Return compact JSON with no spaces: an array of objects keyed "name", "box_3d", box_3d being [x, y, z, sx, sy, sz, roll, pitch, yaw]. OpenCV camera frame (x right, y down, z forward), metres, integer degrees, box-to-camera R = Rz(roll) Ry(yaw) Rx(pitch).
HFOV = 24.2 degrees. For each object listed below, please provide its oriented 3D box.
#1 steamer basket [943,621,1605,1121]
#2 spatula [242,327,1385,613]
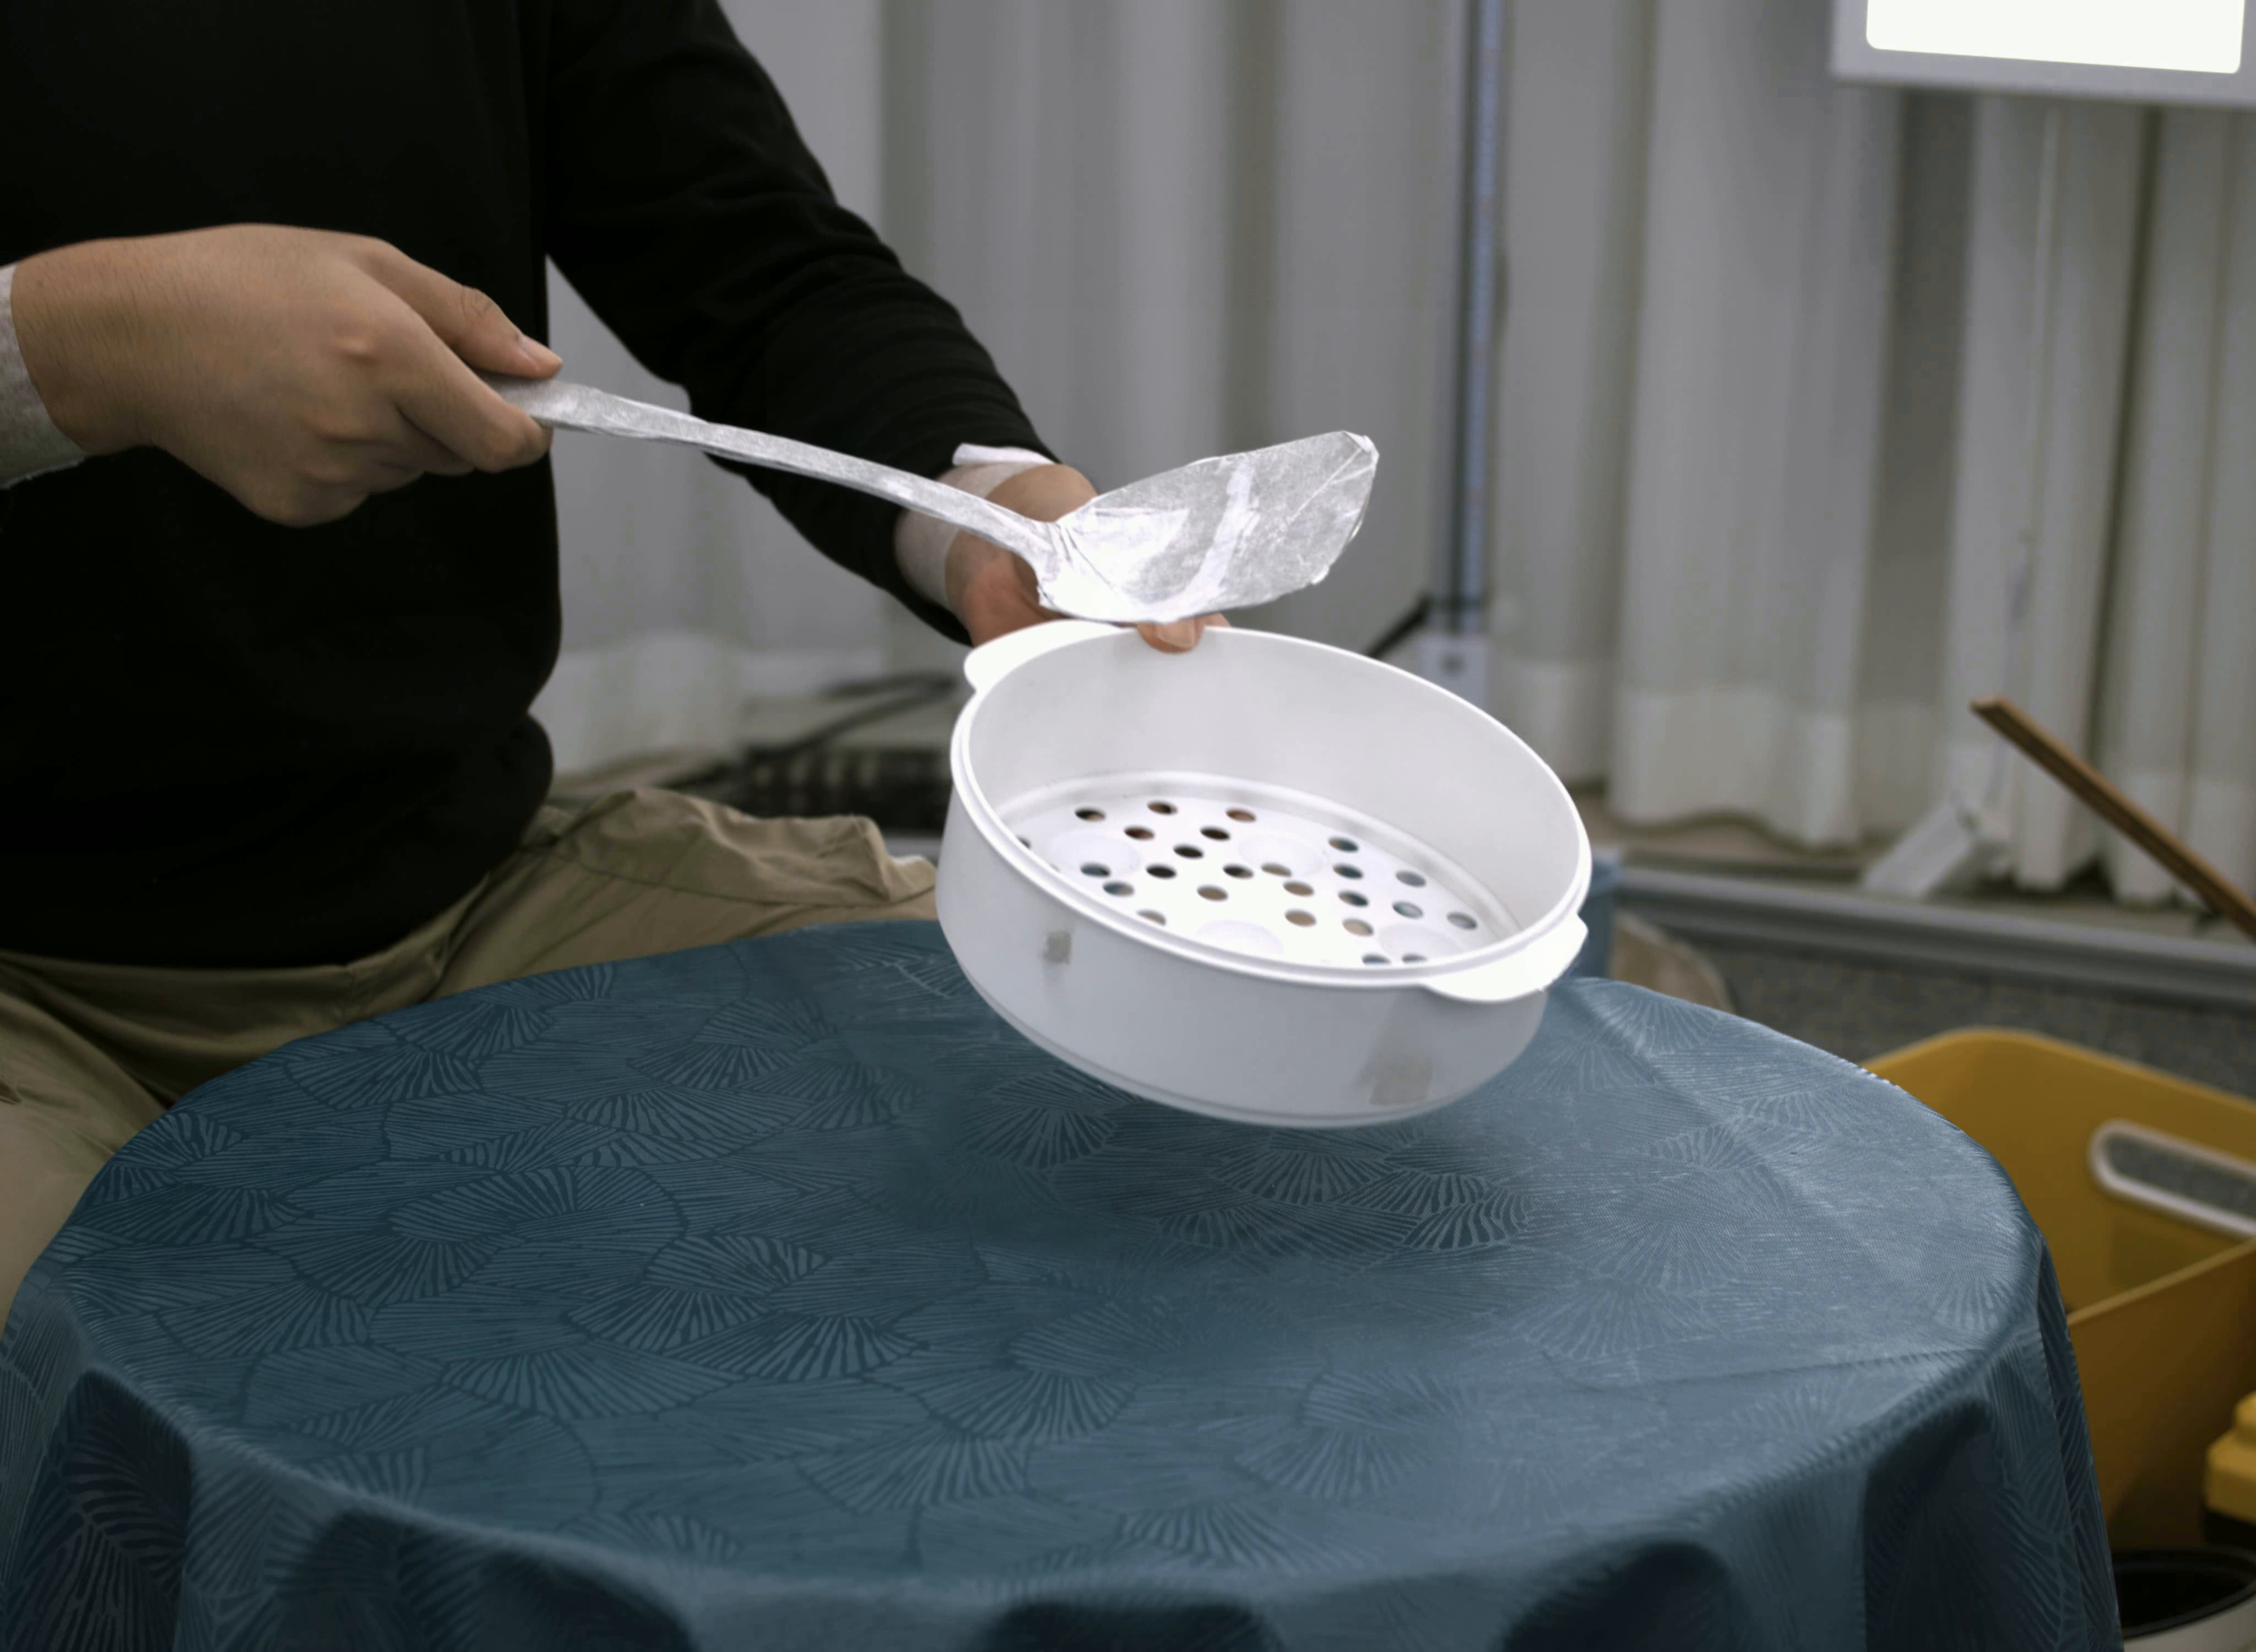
[{"name":"steamer basket","box_3d":[0.041,0.015,1.619,0.227,0.070,0.203,34,35,32]},{"name":"spatula","box_3d":[-0.104,-0.119,1.579,0.362,0.045,0.098,14,40,10]}]
